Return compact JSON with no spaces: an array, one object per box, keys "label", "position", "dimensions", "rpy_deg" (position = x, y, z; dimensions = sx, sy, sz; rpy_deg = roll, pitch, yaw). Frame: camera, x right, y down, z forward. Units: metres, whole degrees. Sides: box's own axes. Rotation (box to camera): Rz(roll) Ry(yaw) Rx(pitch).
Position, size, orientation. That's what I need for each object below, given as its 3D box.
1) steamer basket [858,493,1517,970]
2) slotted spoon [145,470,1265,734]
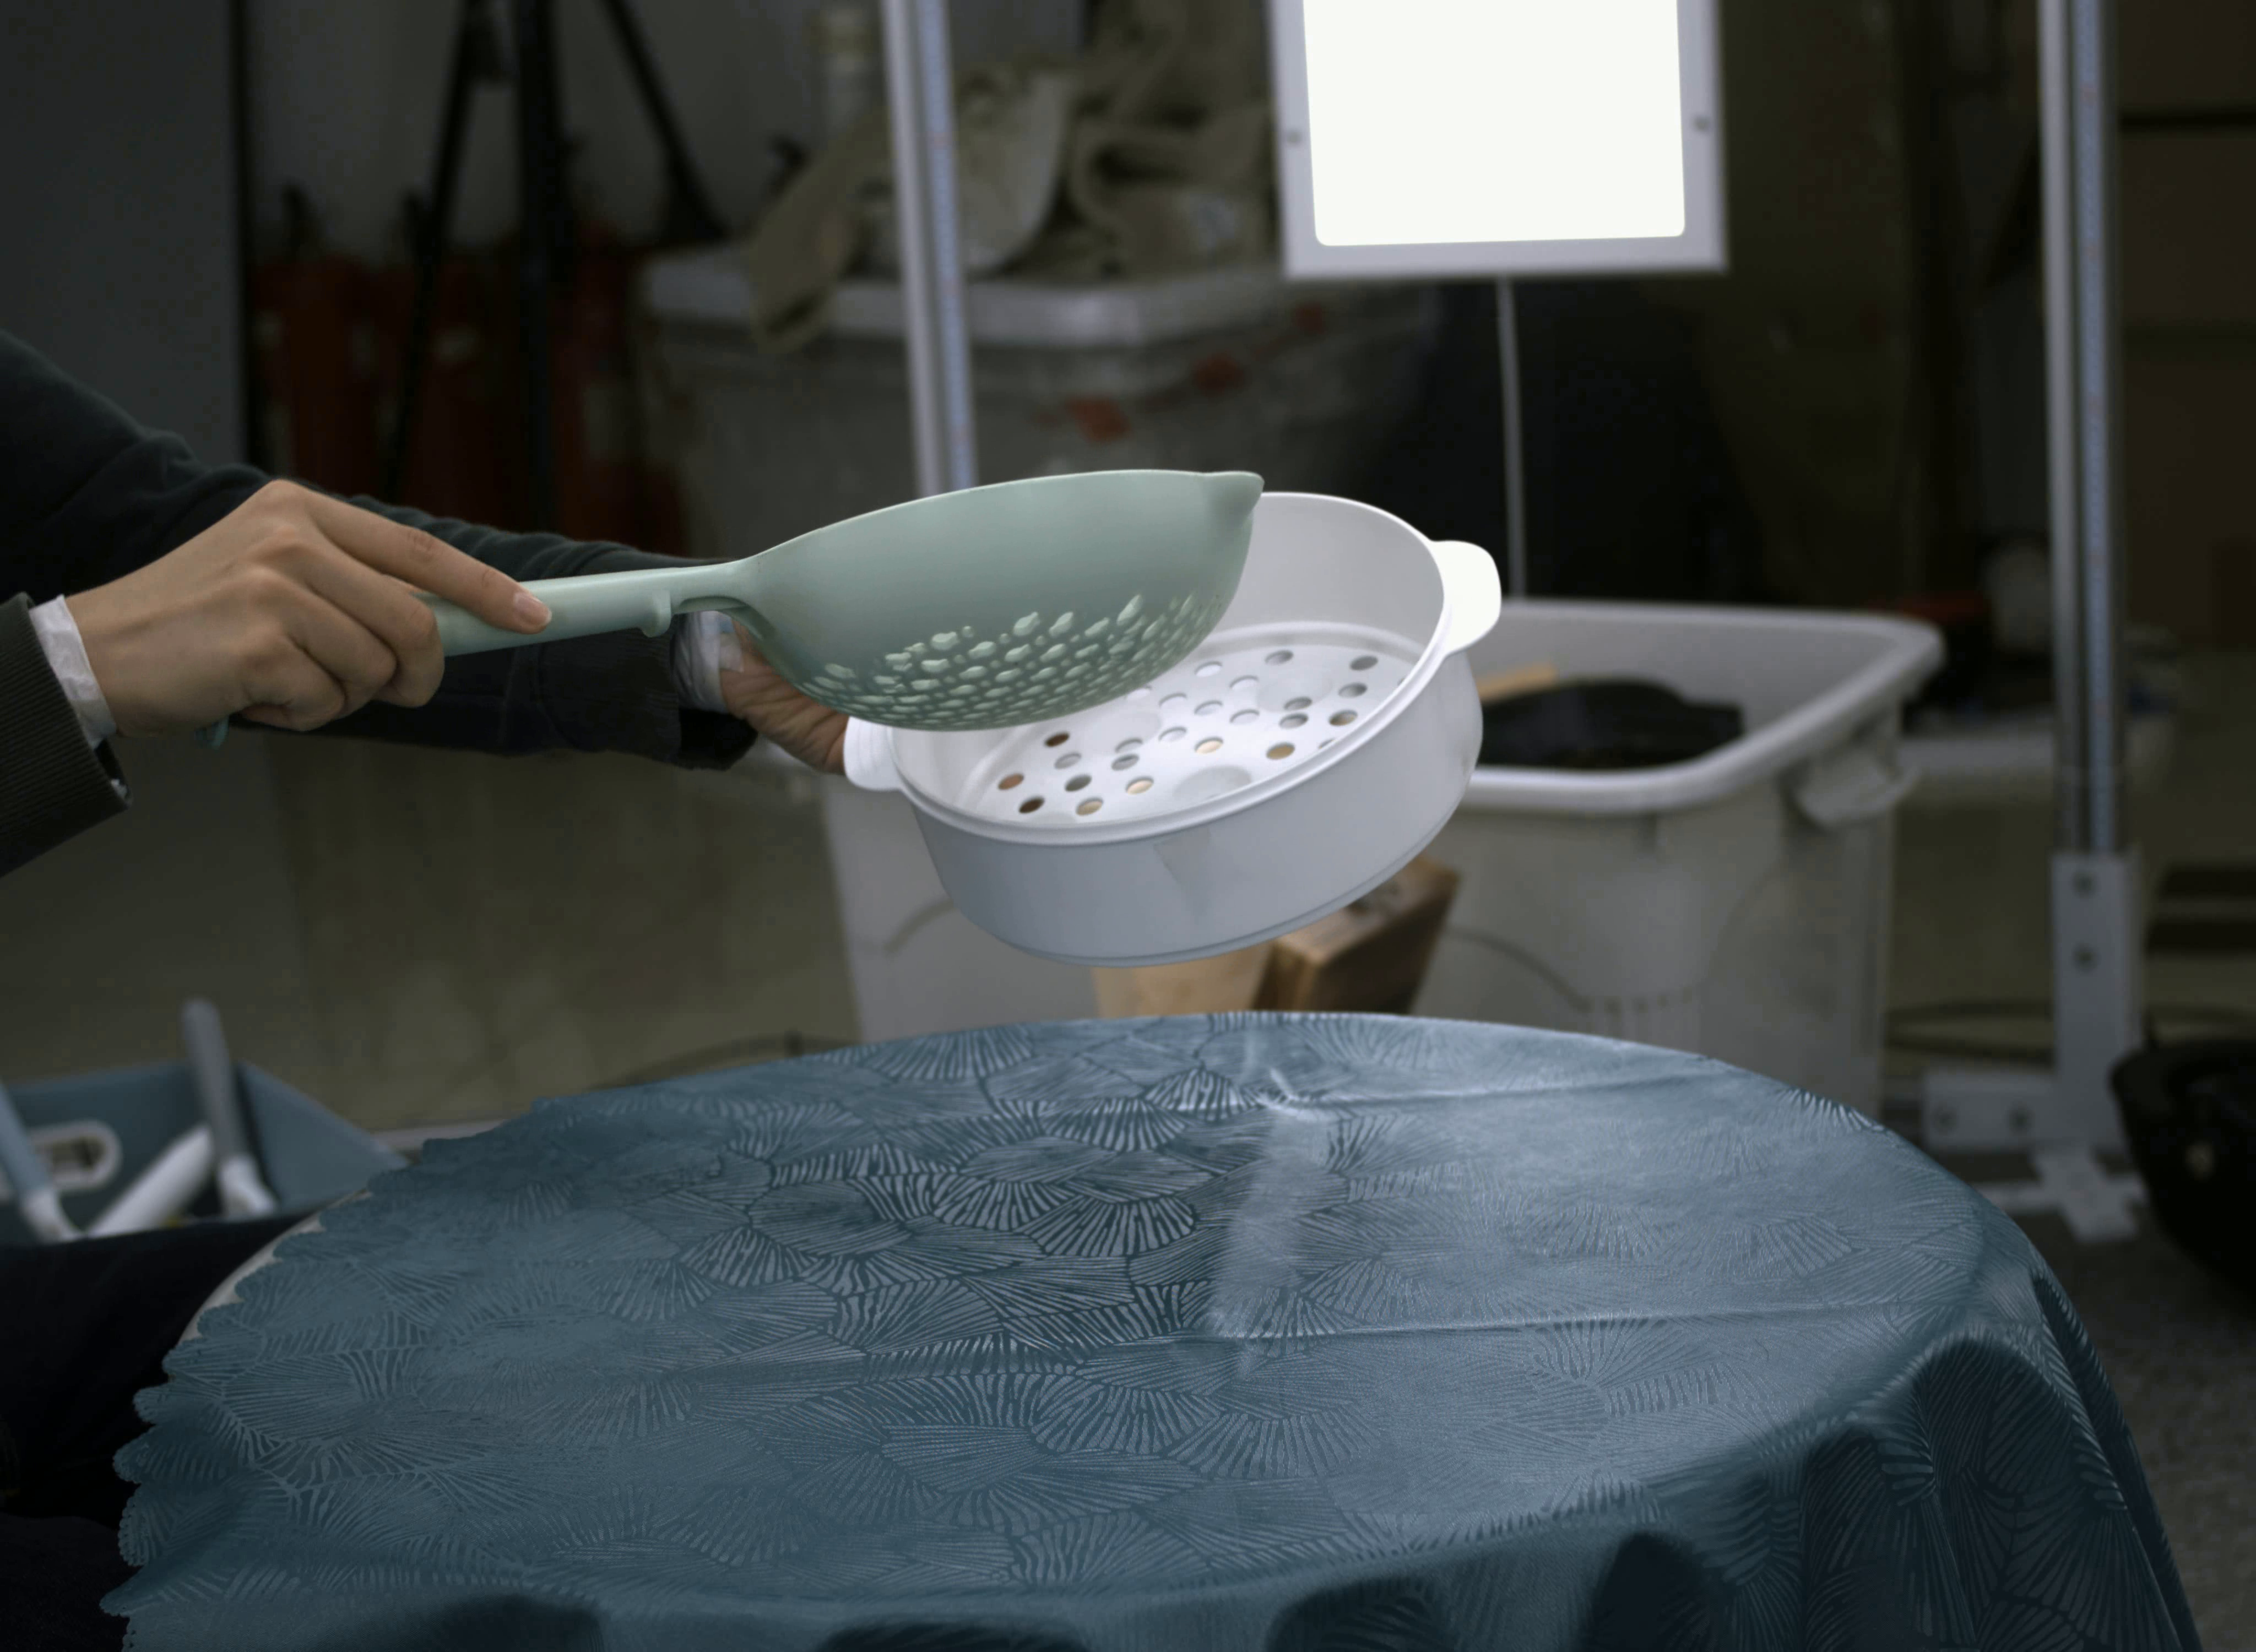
[{"label":"steamer basket","position":[0.027,-0.032,1.855],"dimensions":[0.232,0.069,0.201],"rpy_deg":[-15,31,9]},{"label":"slotted spoon","position":[-0.130,-0.069,1.729],"dimensions":[0.352,0.075,0.172],"rpy_deg":[3,-15,-20]}]
